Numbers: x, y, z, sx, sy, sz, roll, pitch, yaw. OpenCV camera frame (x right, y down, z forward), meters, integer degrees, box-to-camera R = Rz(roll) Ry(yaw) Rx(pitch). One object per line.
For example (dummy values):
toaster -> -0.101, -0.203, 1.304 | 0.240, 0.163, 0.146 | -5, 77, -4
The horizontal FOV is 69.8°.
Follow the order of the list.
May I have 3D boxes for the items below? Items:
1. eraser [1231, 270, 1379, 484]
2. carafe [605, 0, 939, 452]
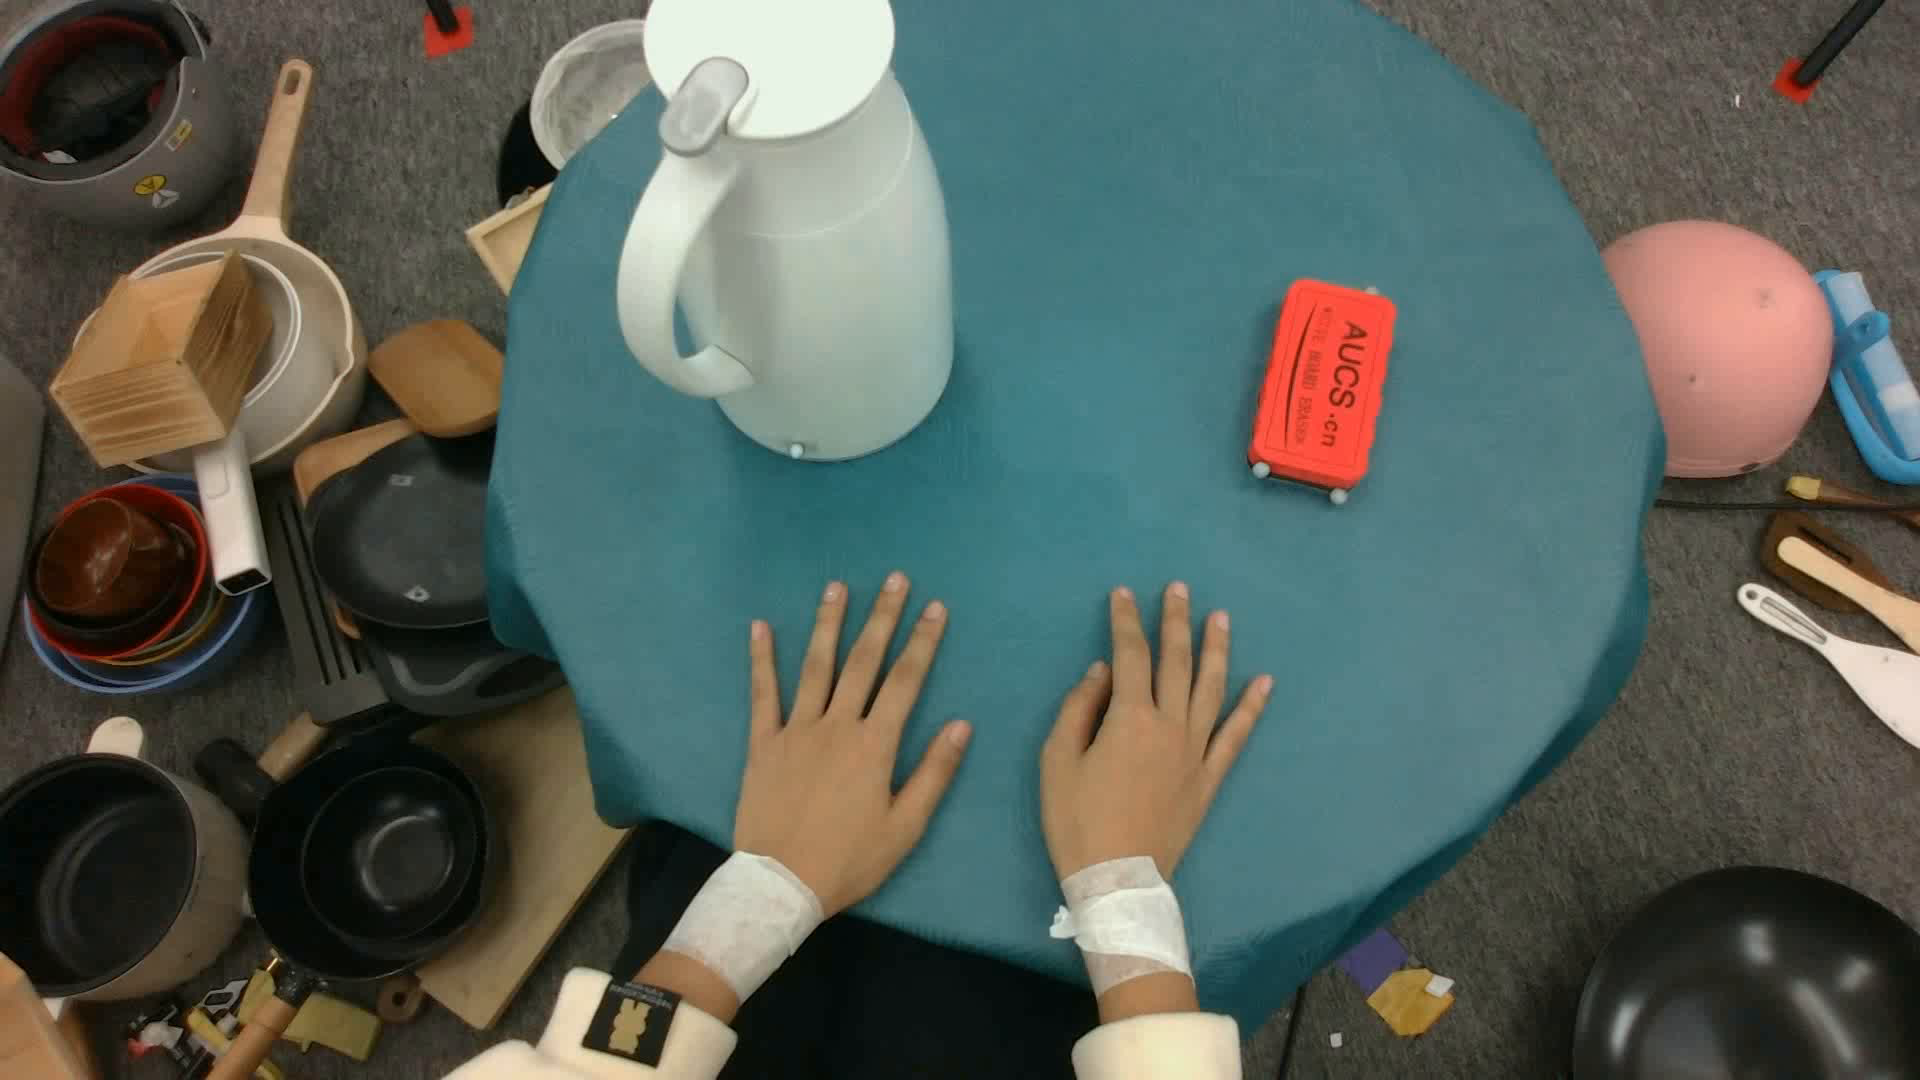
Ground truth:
eraser -> 0.179, -0.085, 0.713 | 0.059, 0.023, 0.108 | 14, 69, 6
carafe -> -0.085, -0.133, 0.605 | 0.132, 0.248, 0.168 | 31, 73, 10
